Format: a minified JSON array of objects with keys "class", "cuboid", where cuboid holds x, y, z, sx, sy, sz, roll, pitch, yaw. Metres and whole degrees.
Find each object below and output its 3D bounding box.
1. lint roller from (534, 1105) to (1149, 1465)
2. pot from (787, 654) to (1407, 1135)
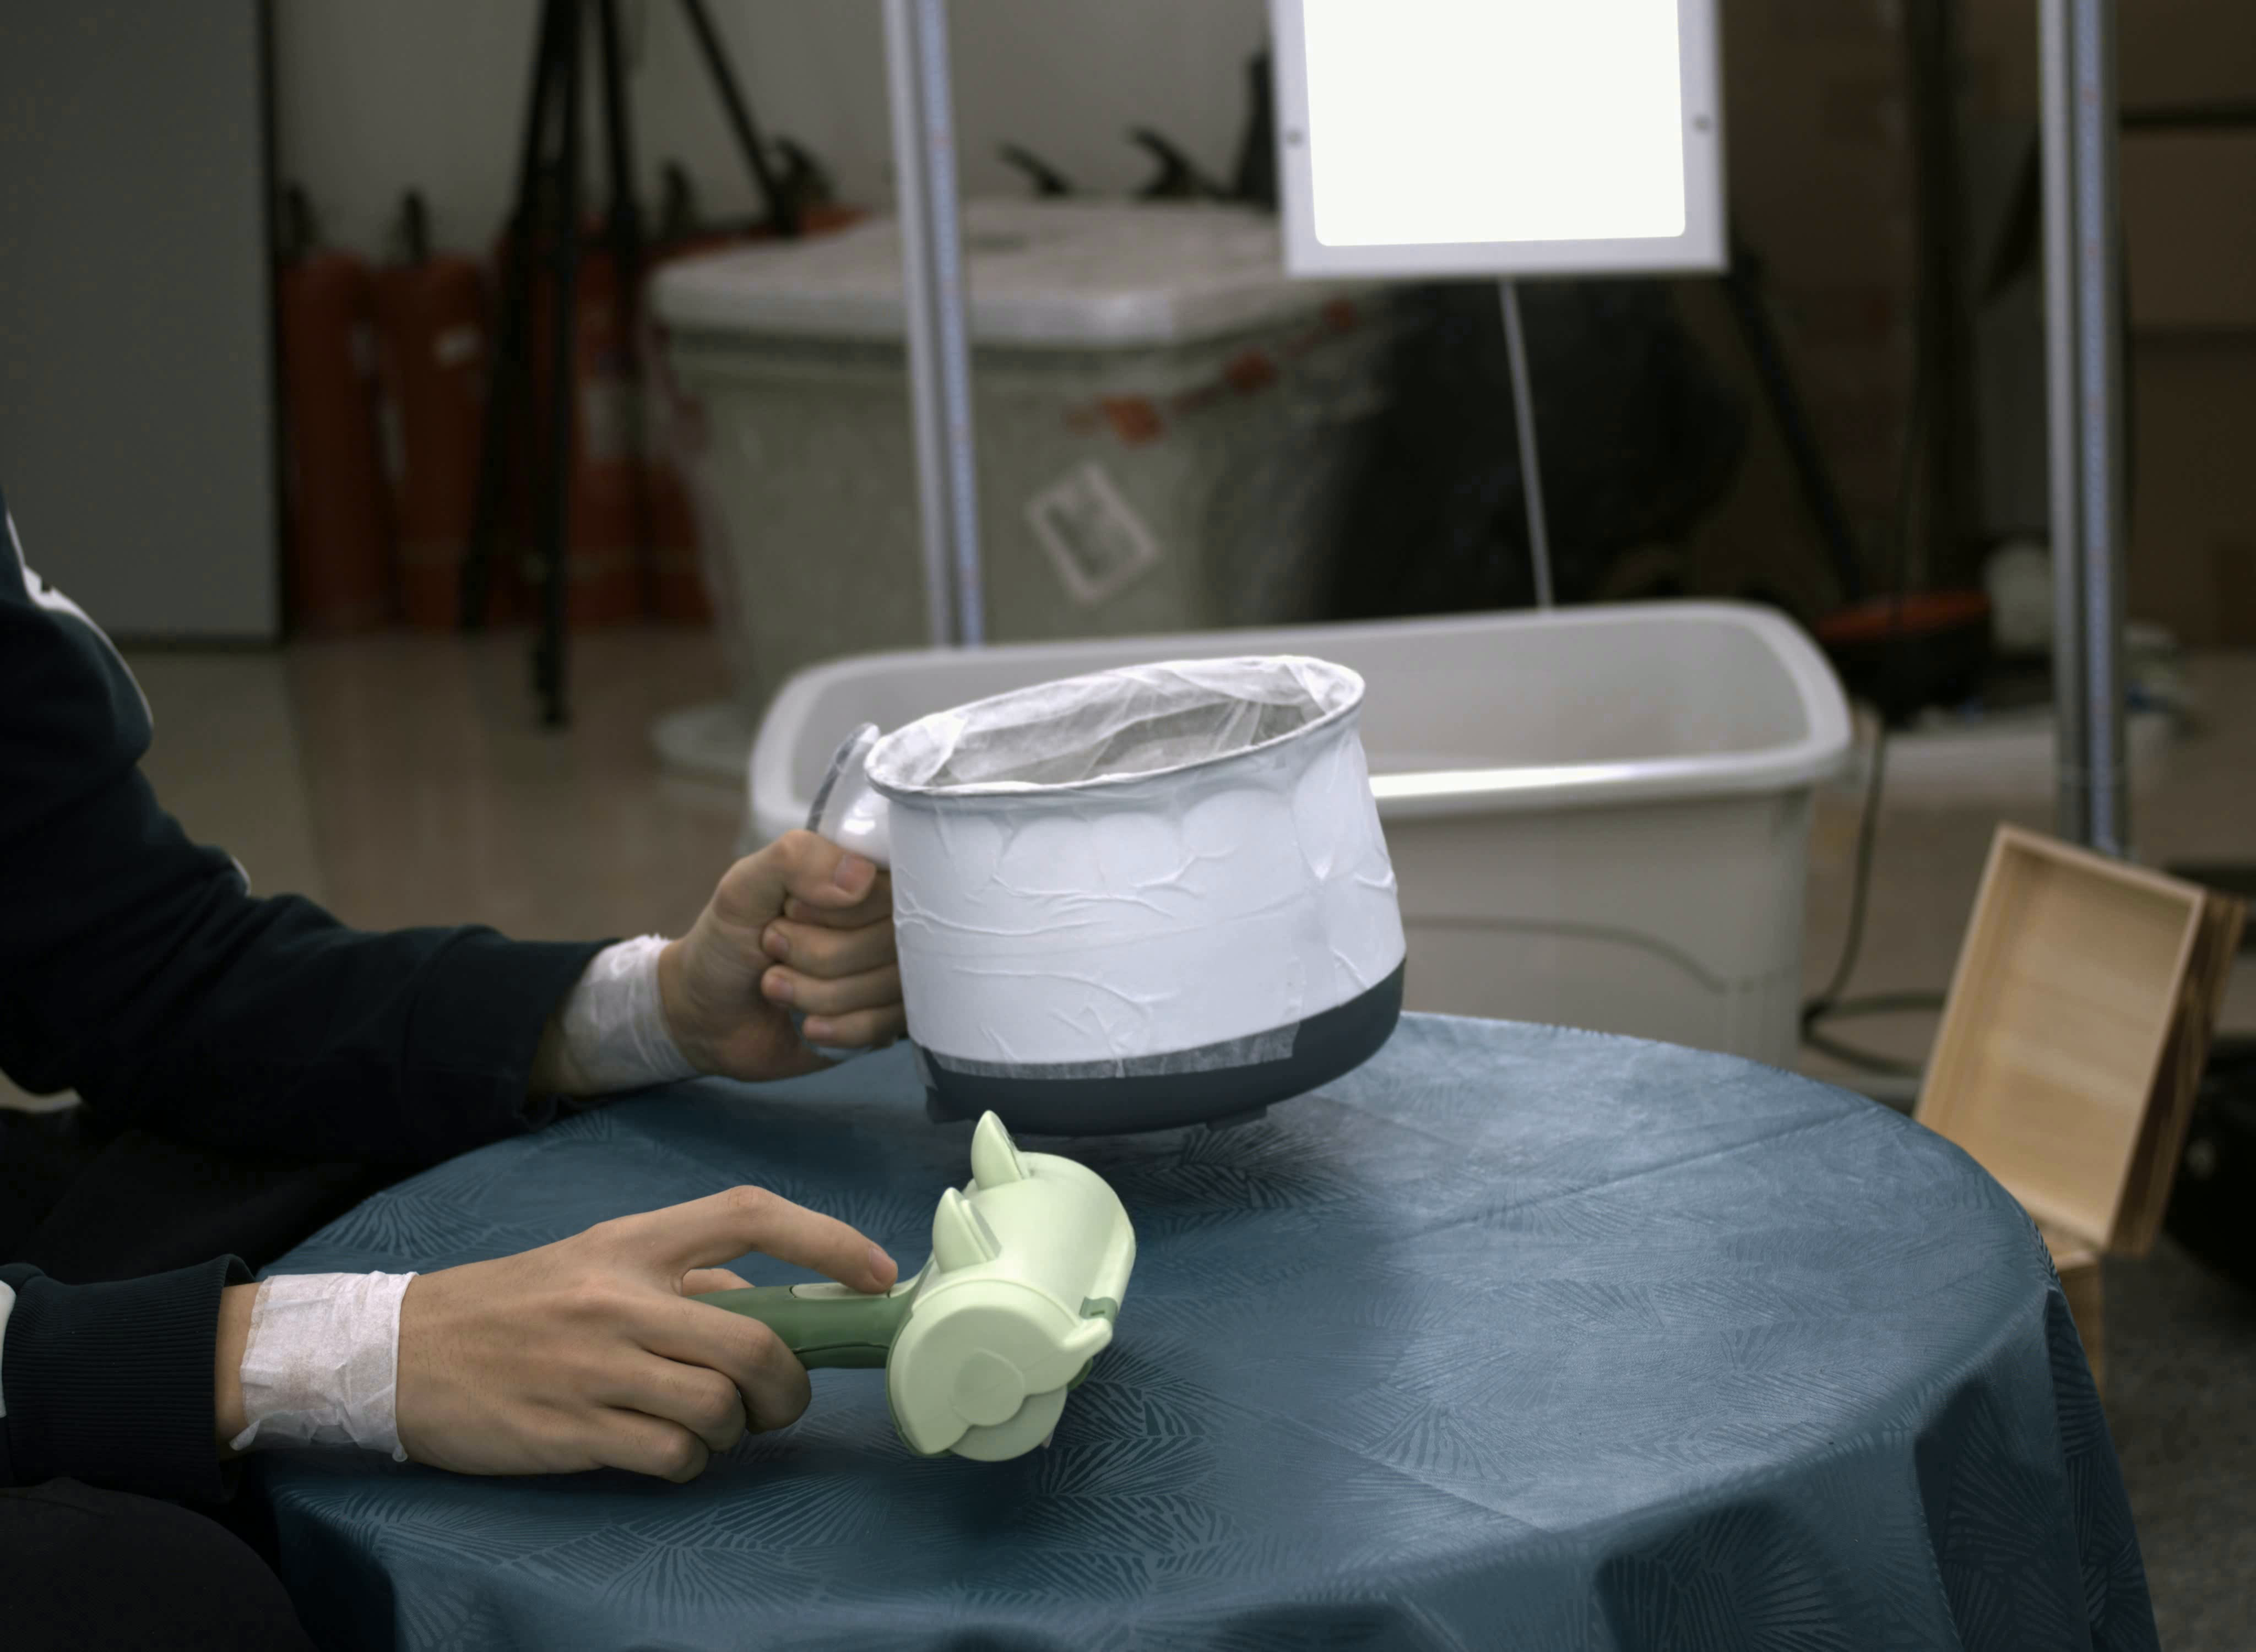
[{"class":"lint roller","cuboid":[-0.090,0.136,1.667,0.184,0.082,0.197,-1,9,6]},{"class":"pot","cuboid":[-0.020,0.025,1.927,0.238,0.137,0.175,-3,14,28]}]
